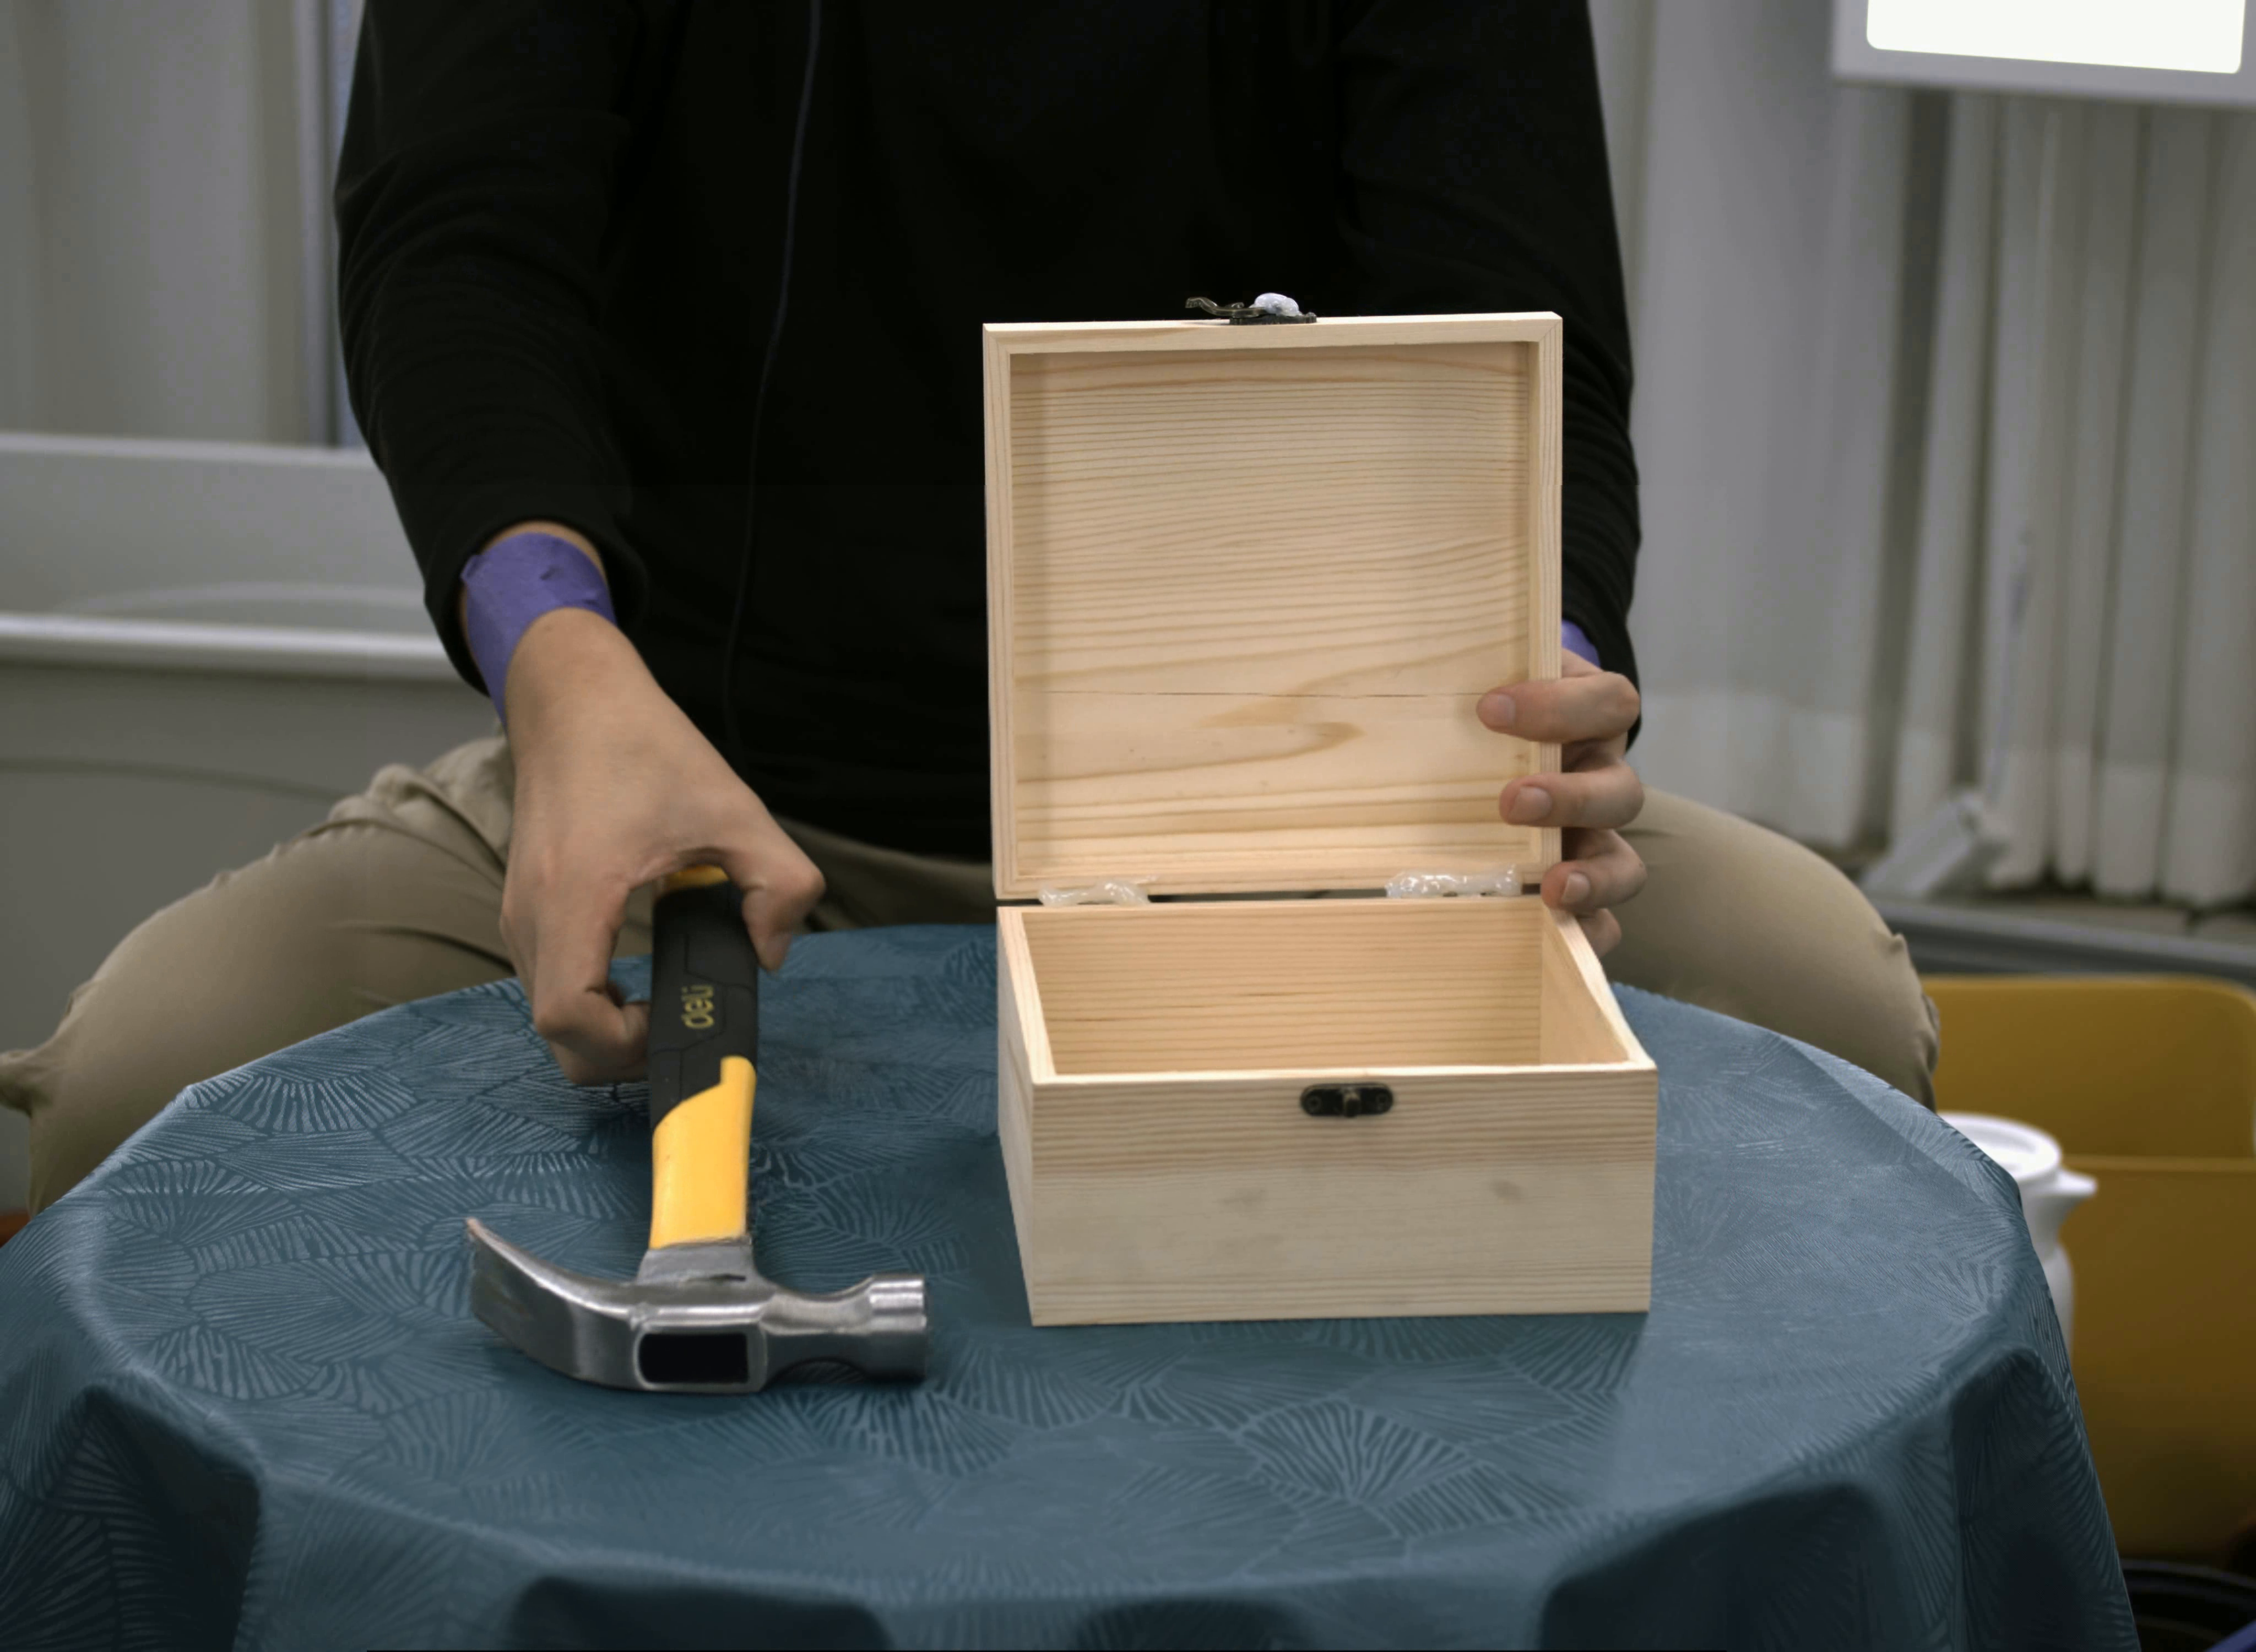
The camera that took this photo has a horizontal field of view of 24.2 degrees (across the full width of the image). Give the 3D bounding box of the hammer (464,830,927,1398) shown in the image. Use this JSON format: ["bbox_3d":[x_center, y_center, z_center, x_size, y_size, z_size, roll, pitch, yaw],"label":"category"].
[{"bbox_3d":[-0.128,0.079,1.601,0.131,0.032,0.335,-1,24,-3],"label":"hammer"}]

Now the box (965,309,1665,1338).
[{"bbox_3d":[0.052,-0.010,1.598,0.181,0.255,0.263,-3,16,-5],"label":"box"}]
